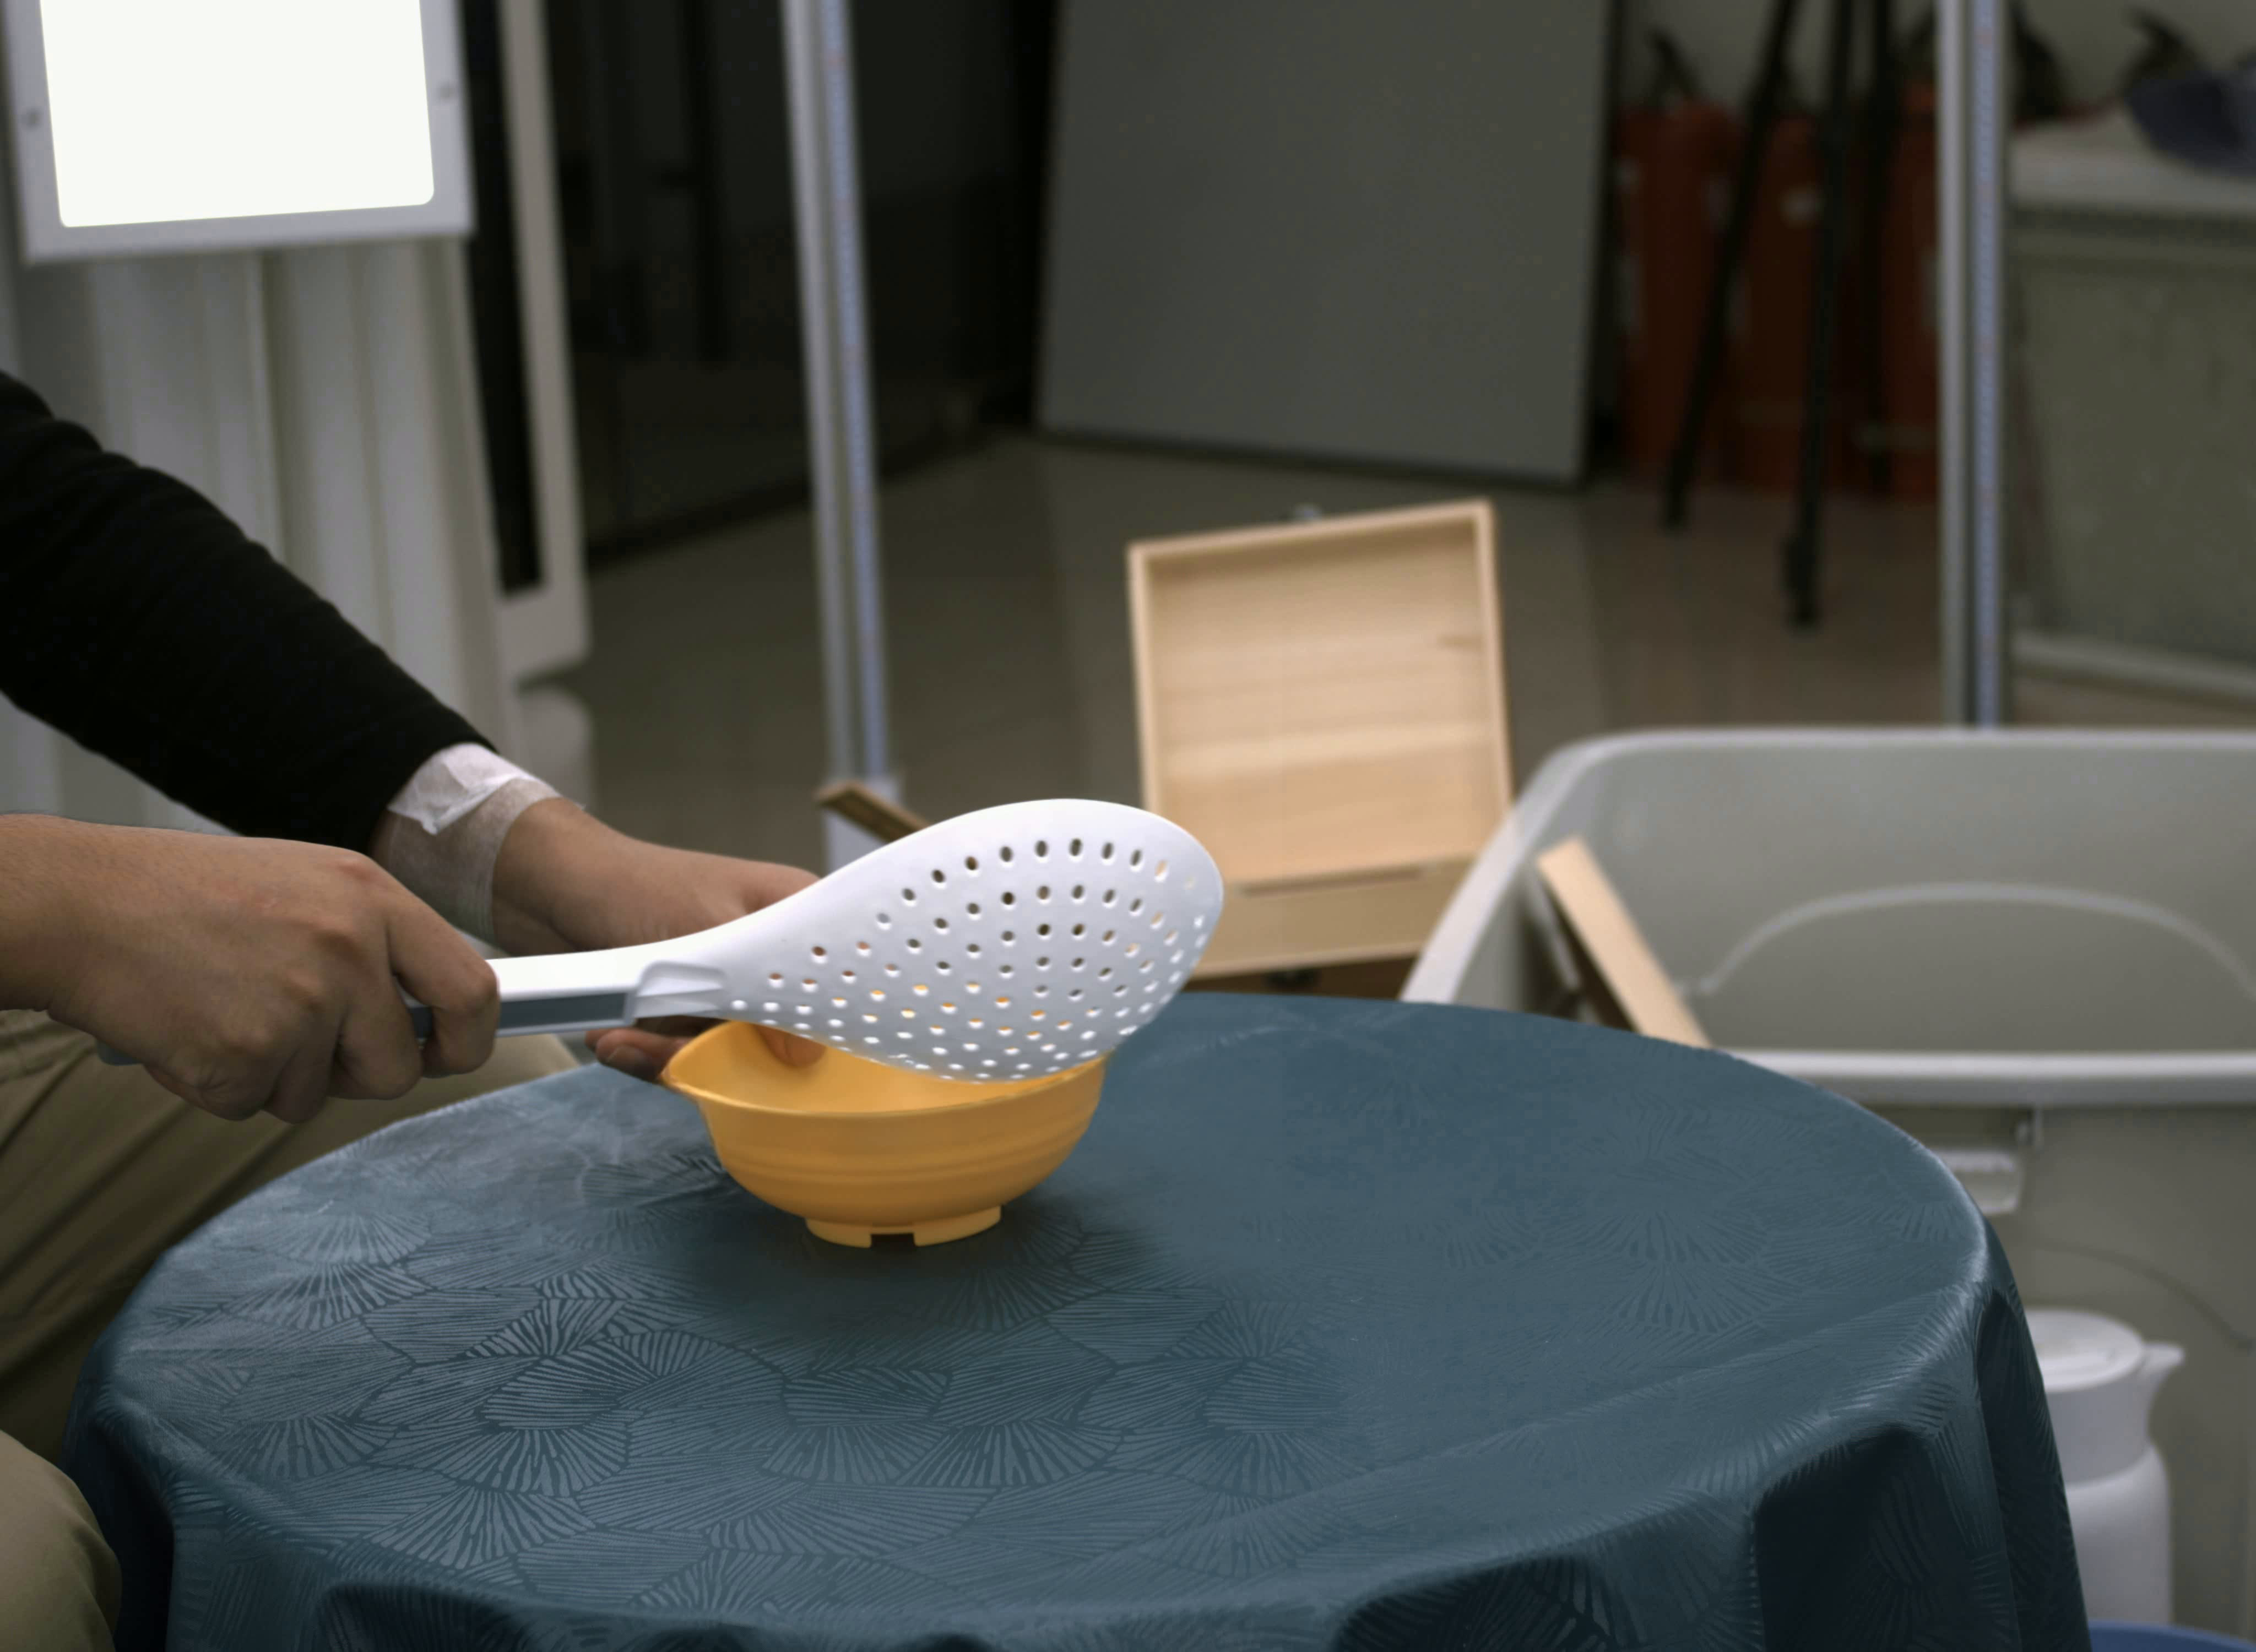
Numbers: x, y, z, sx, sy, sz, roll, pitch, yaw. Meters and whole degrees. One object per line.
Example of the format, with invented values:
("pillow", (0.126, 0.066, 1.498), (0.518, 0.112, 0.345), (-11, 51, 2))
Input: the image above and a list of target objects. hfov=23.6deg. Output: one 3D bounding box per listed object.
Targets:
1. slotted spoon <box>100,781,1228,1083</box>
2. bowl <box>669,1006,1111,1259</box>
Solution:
("slotted spoon", (-0.136, 0.046, 1.645), (0.343, 0.137, 0.046), (-1, 50, -9))
("bowl", (-0.076, 0.102, 1.752), (0.143, 0.061, 0.145), (-2, 13, -1))
